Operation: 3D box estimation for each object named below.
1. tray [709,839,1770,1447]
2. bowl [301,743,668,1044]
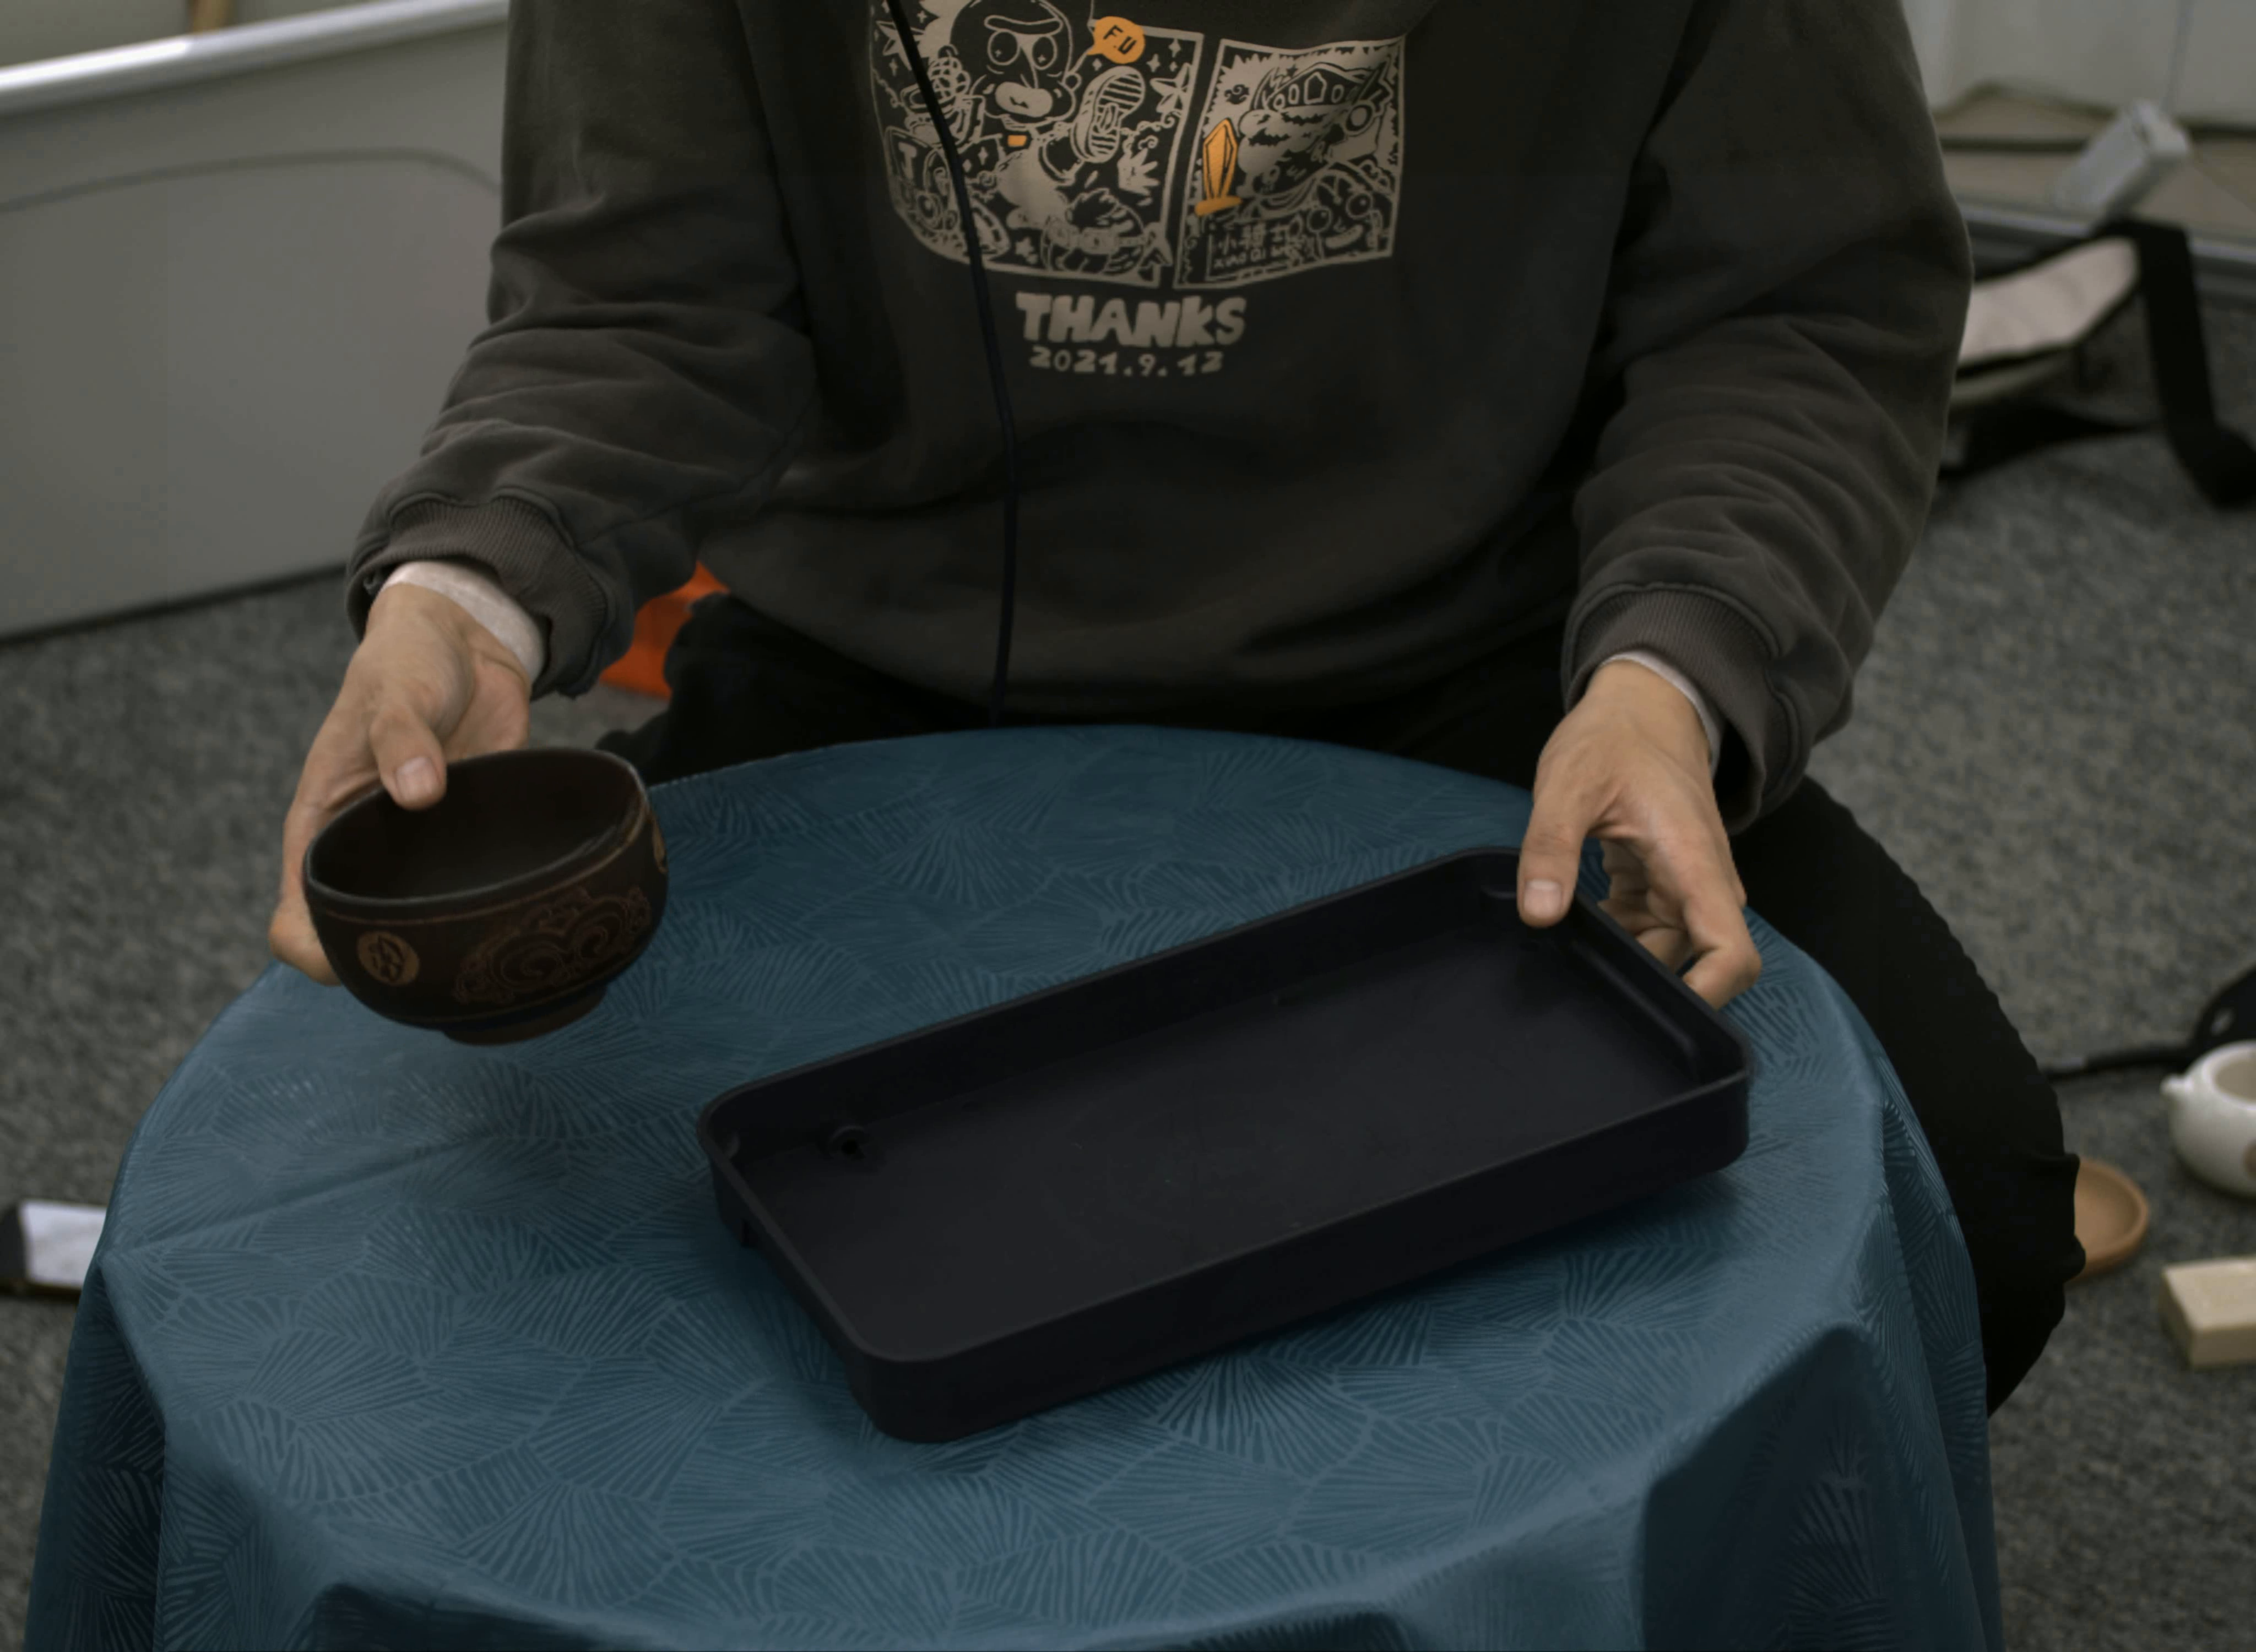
[{"bbox_3d":[0.037,0.099,1.844,0.319,0.036,0.185,-19,31,-21],"label":"tray"},{"bbox_3d":[-0.207,0.029,1.845,0.117,0.069,0.119,-10,23,5],"label":"bowl"}]
